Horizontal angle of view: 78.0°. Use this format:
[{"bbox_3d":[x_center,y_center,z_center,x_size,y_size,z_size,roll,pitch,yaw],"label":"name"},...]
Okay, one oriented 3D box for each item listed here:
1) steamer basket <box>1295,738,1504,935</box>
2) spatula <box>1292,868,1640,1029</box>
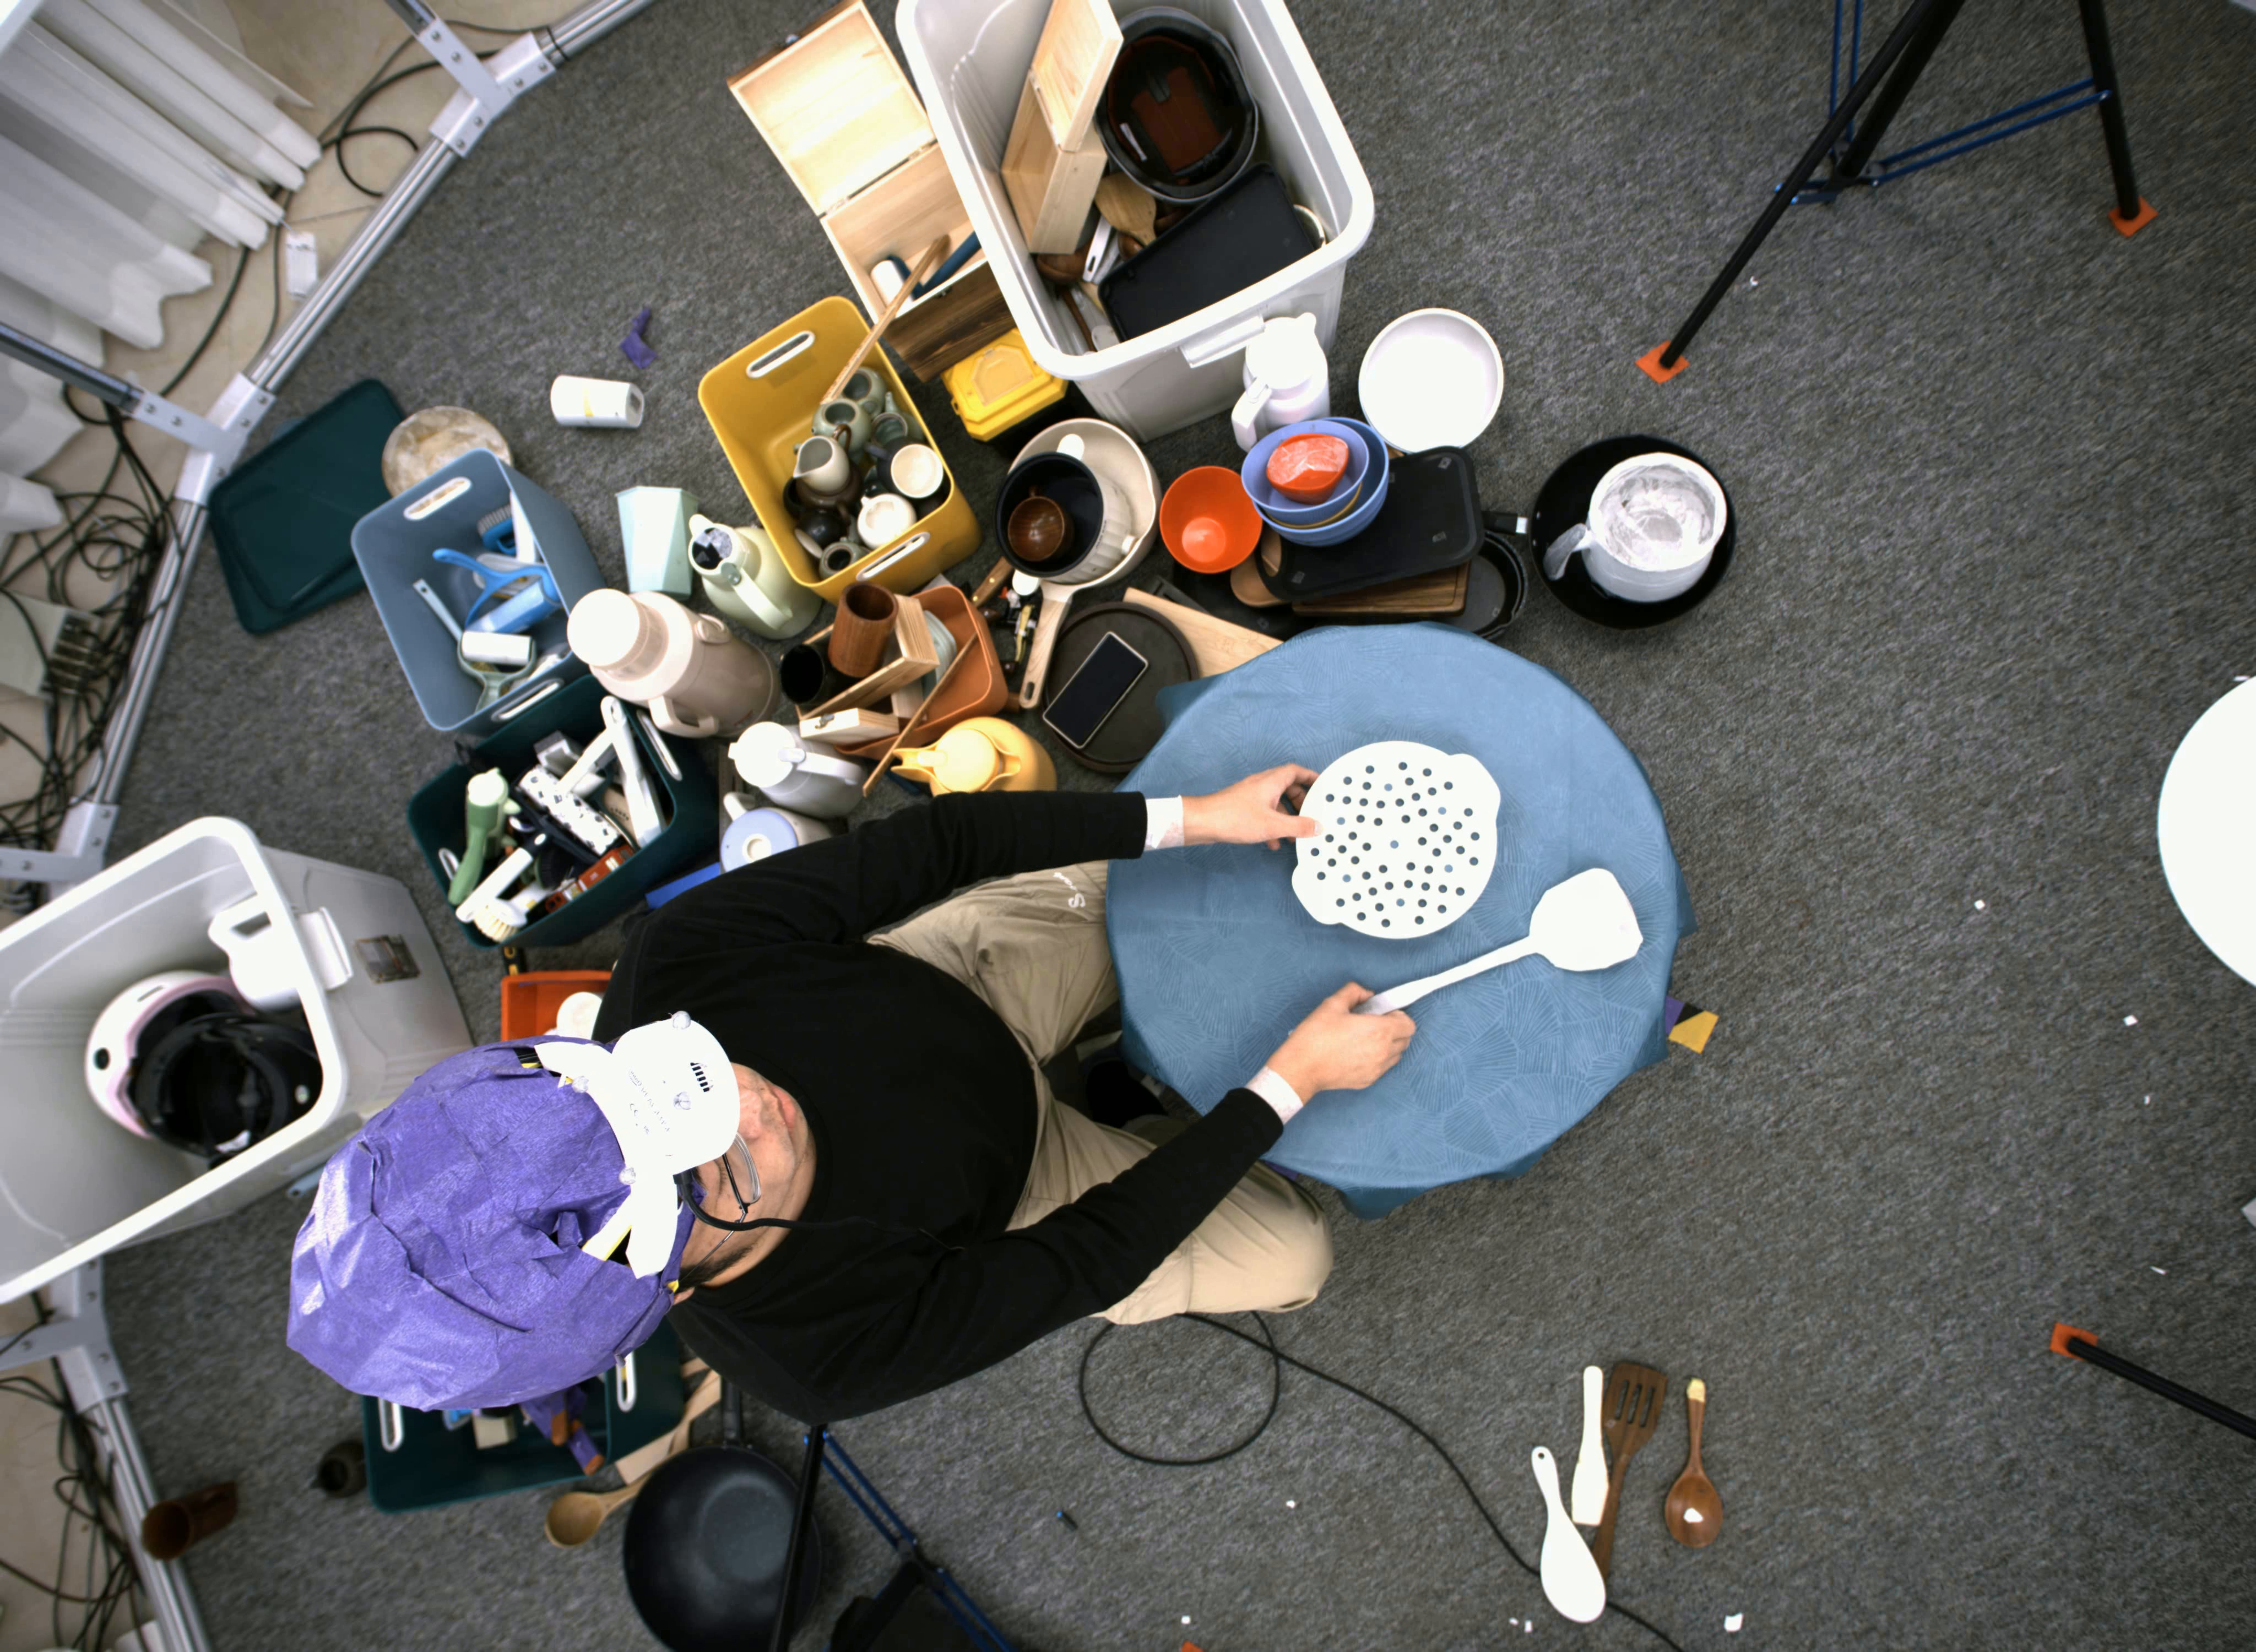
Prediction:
[{"bbox_3d":[0.280,0.012,1.426,0.232,0.069,0.200,-35,80,7],"label":"steamer basket"},{"bbox_3d":[0.342,0.145,1.422,0.367,0.045,0.098,-21,84,8],"label":"spatula"}]
